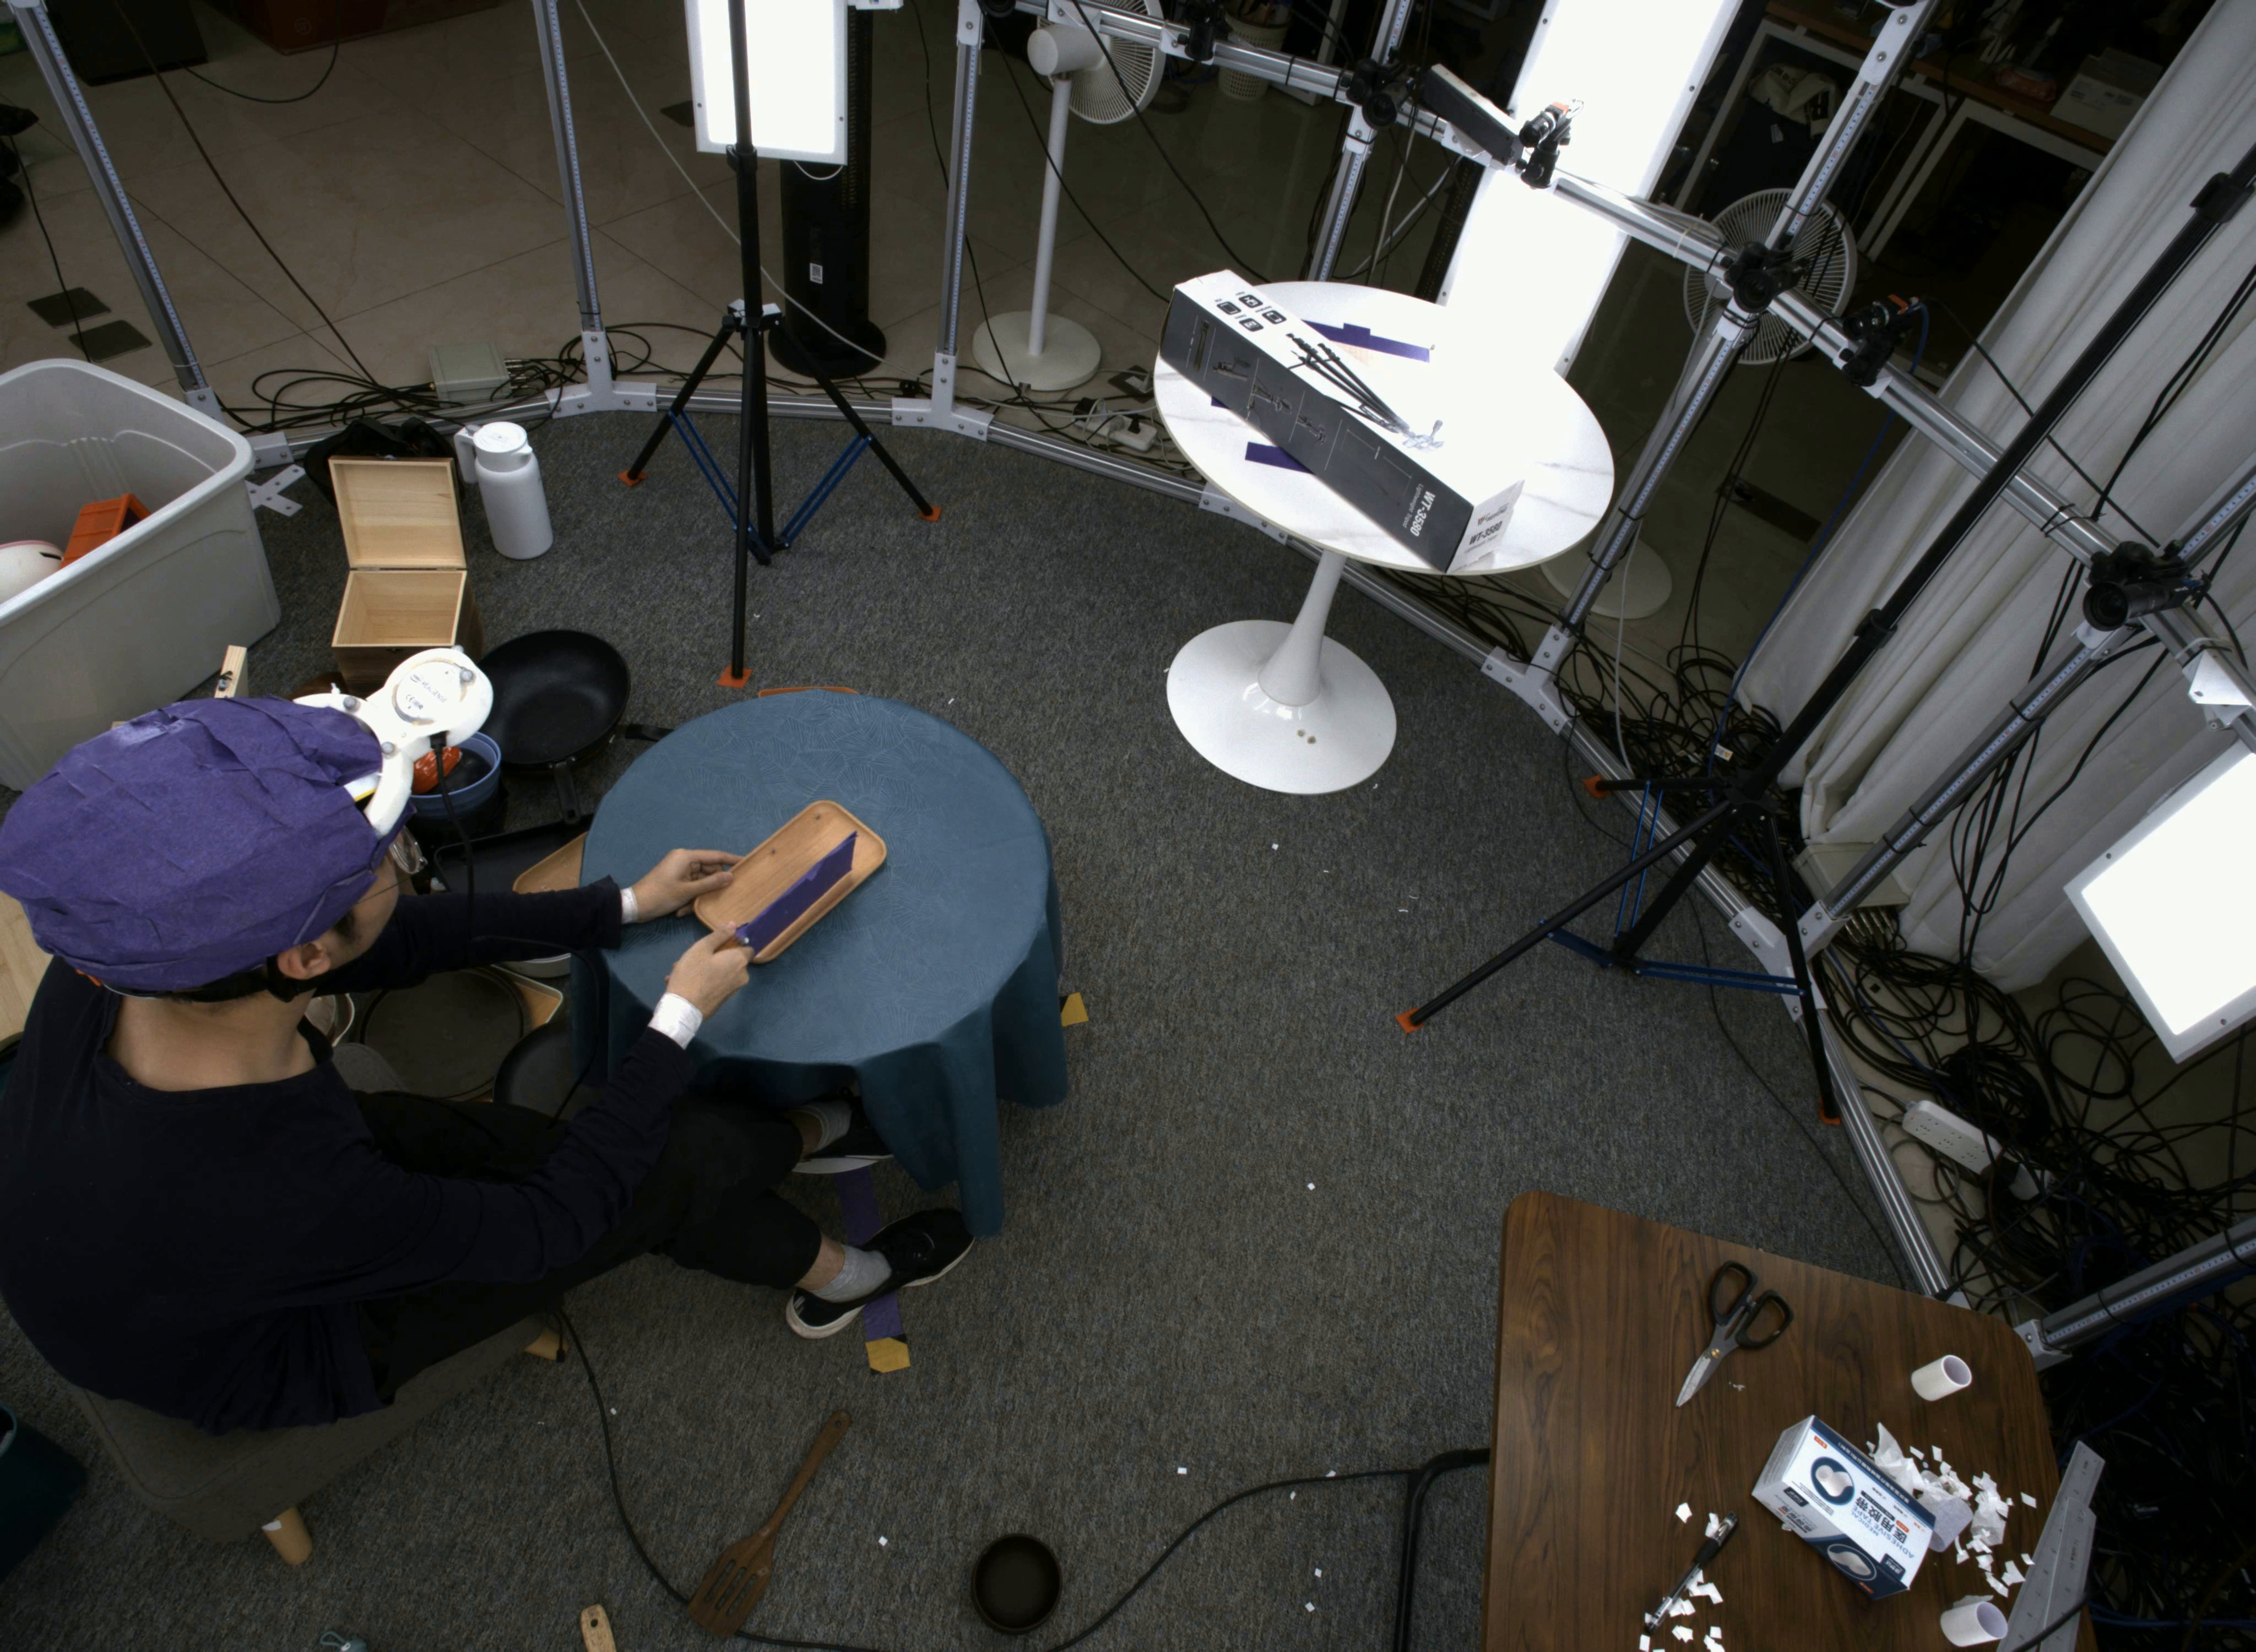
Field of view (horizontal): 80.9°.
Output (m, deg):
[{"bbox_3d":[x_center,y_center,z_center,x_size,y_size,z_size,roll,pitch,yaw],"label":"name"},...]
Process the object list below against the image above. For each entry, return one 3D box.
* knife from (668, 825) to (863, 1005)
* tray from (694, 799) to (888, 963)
[{"bbox_3d":[-0.426,0.118,1.560,0.031,0.106,0.315,35,51,12],"label":"knife"},{"bbox_3d":[-0.429,0.066,1.662,0.129,0.023,0.251,40,54,10],"label":"tray"}]
